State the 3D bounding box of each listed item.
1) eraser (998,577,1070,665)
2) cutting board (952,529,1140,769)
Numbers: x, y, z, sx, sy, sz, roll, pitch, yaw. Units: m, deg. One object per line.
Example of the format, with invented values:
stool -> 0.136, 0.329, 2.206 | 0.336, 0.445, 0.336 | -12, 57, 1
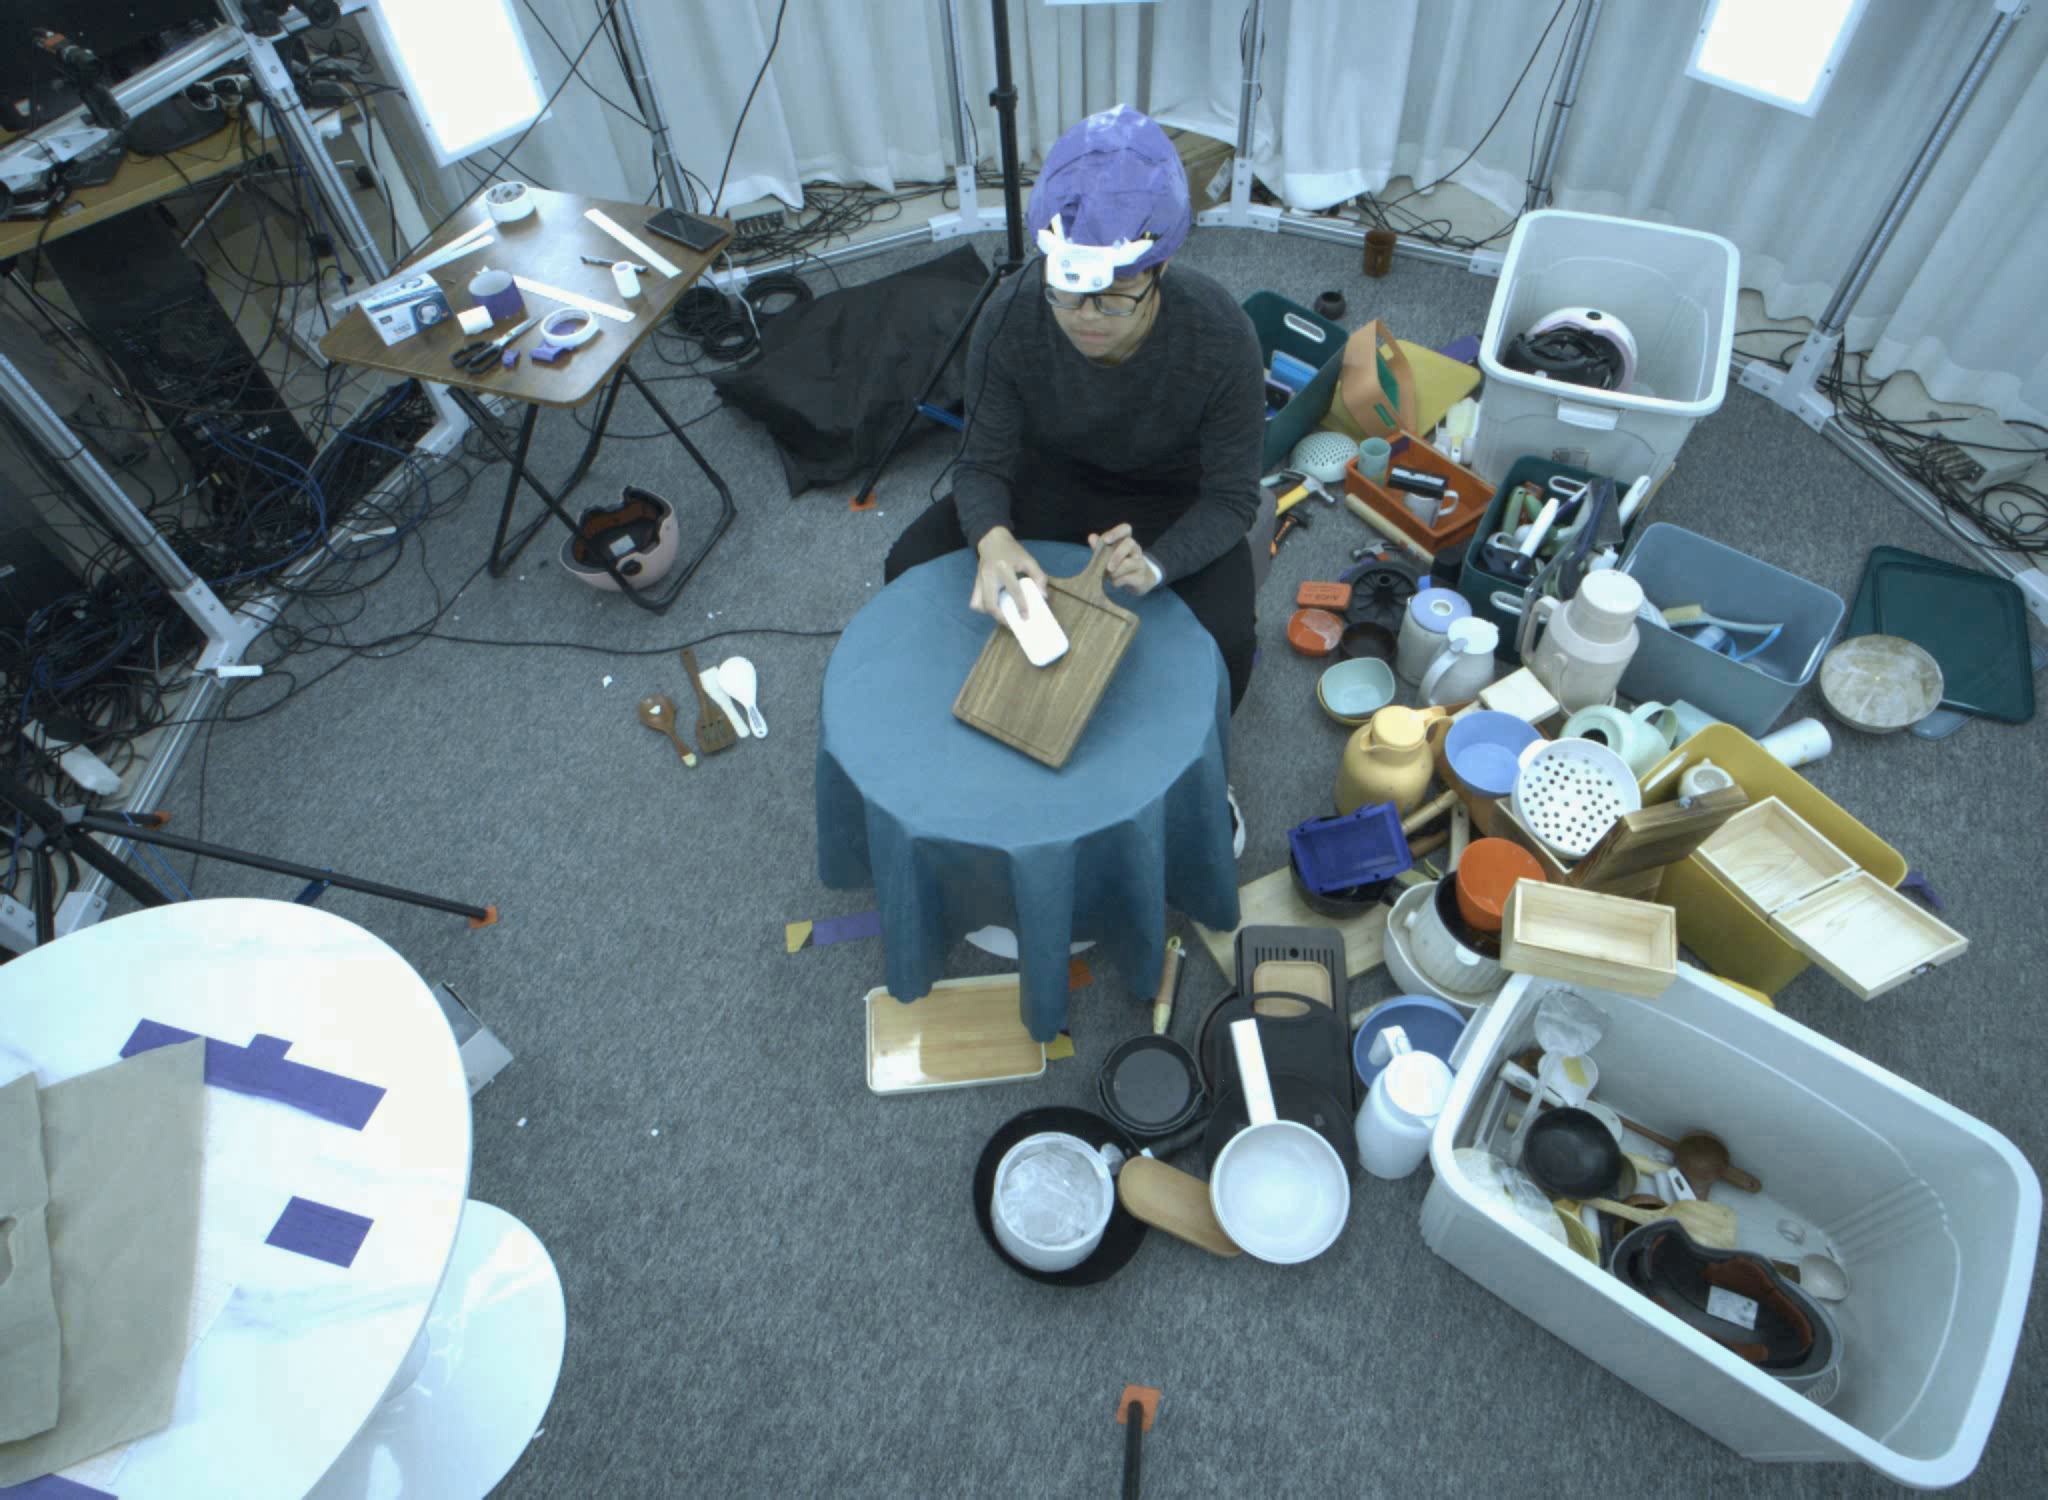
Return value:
eraser -> 0.016, -0.188, 1.787 | 0.063, 0.035, 0.130 | -31, 76, 10
cutting board -> 0.053, -0.165, 1.795 | 0.198, 0.023, 0.352 | 27, 87, 20
